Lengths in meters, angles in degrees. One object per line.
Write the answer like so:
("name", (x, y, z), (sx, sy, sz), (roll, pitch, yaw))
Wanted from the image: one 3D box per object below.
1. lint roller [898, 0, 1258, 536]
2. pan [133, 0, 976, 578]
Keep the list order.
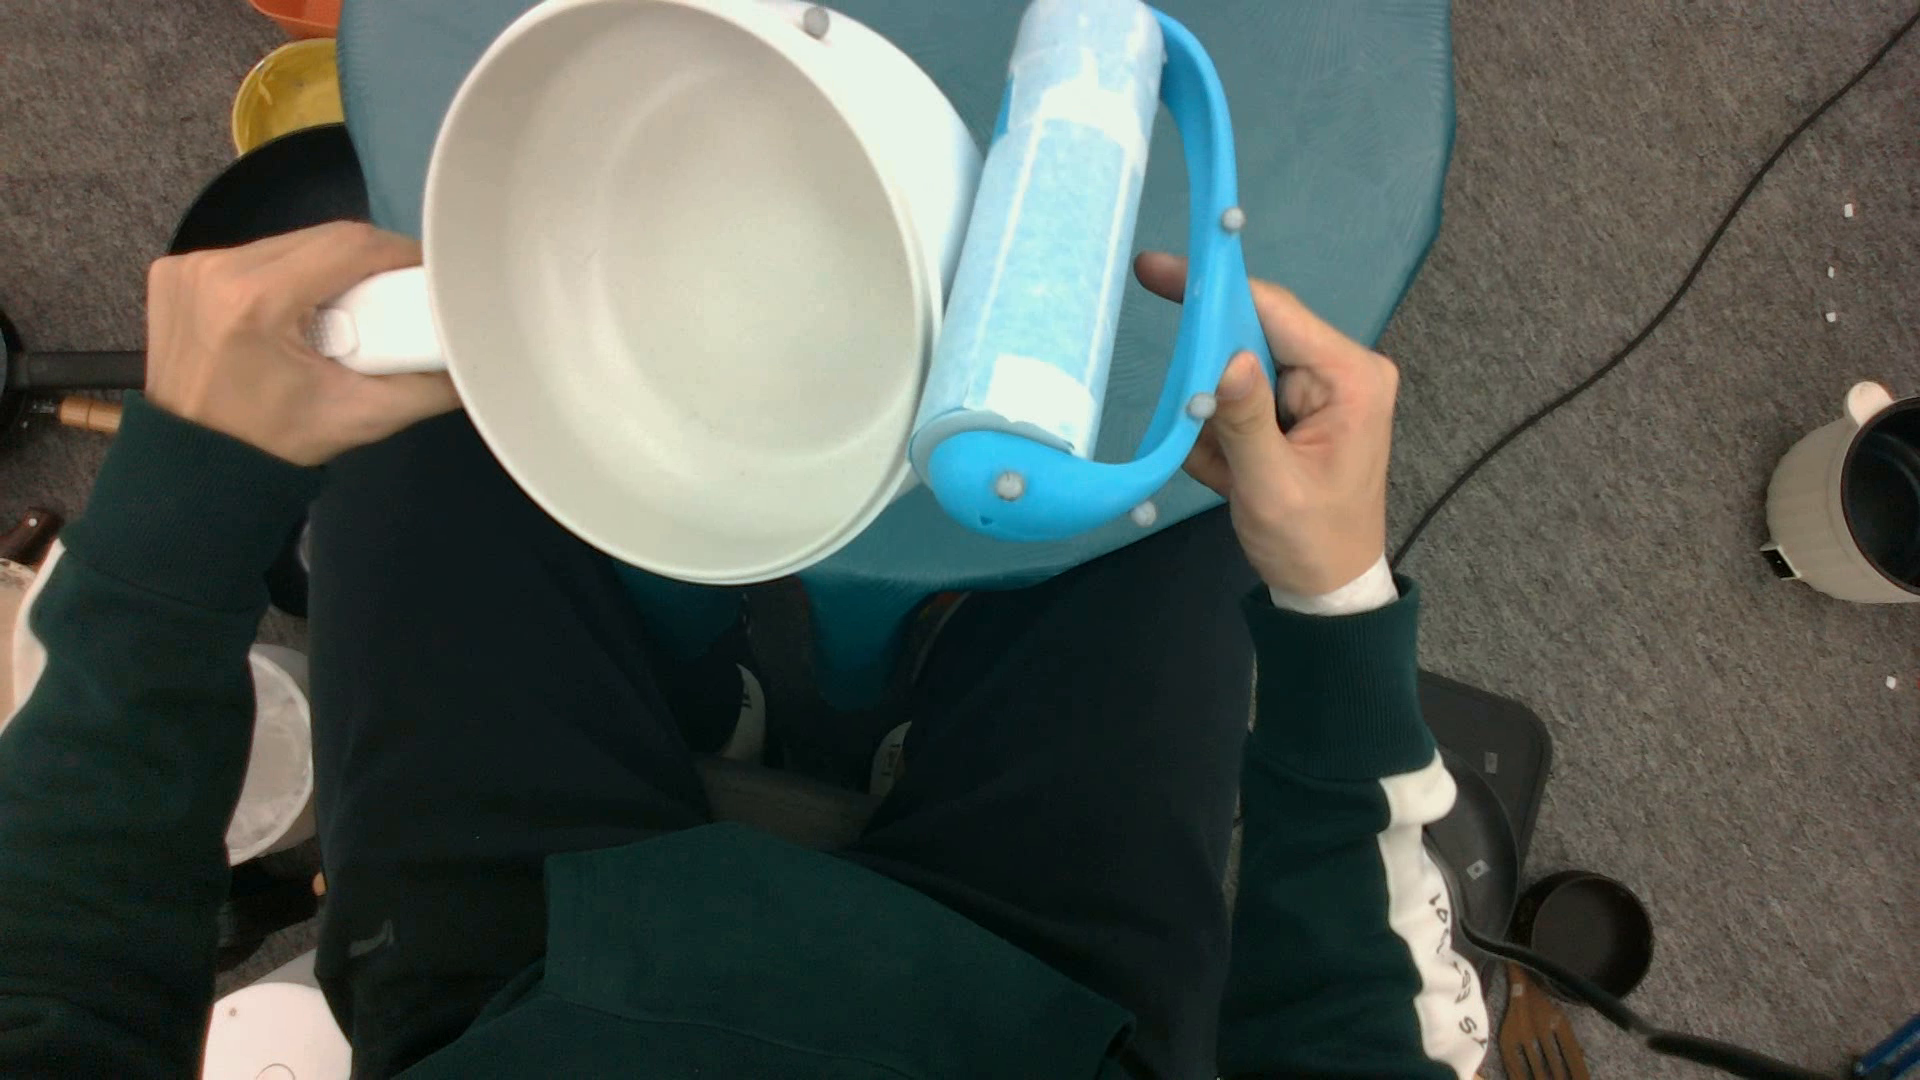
("lint roller", (0.066, -0.074, 0.484), (0.180, 0.067, 0.230), (33, 50, -33))
("pan", (-0.156, -0.095, 0.536), (0.354, 0.102, 0.200), (0, 108, 23))
